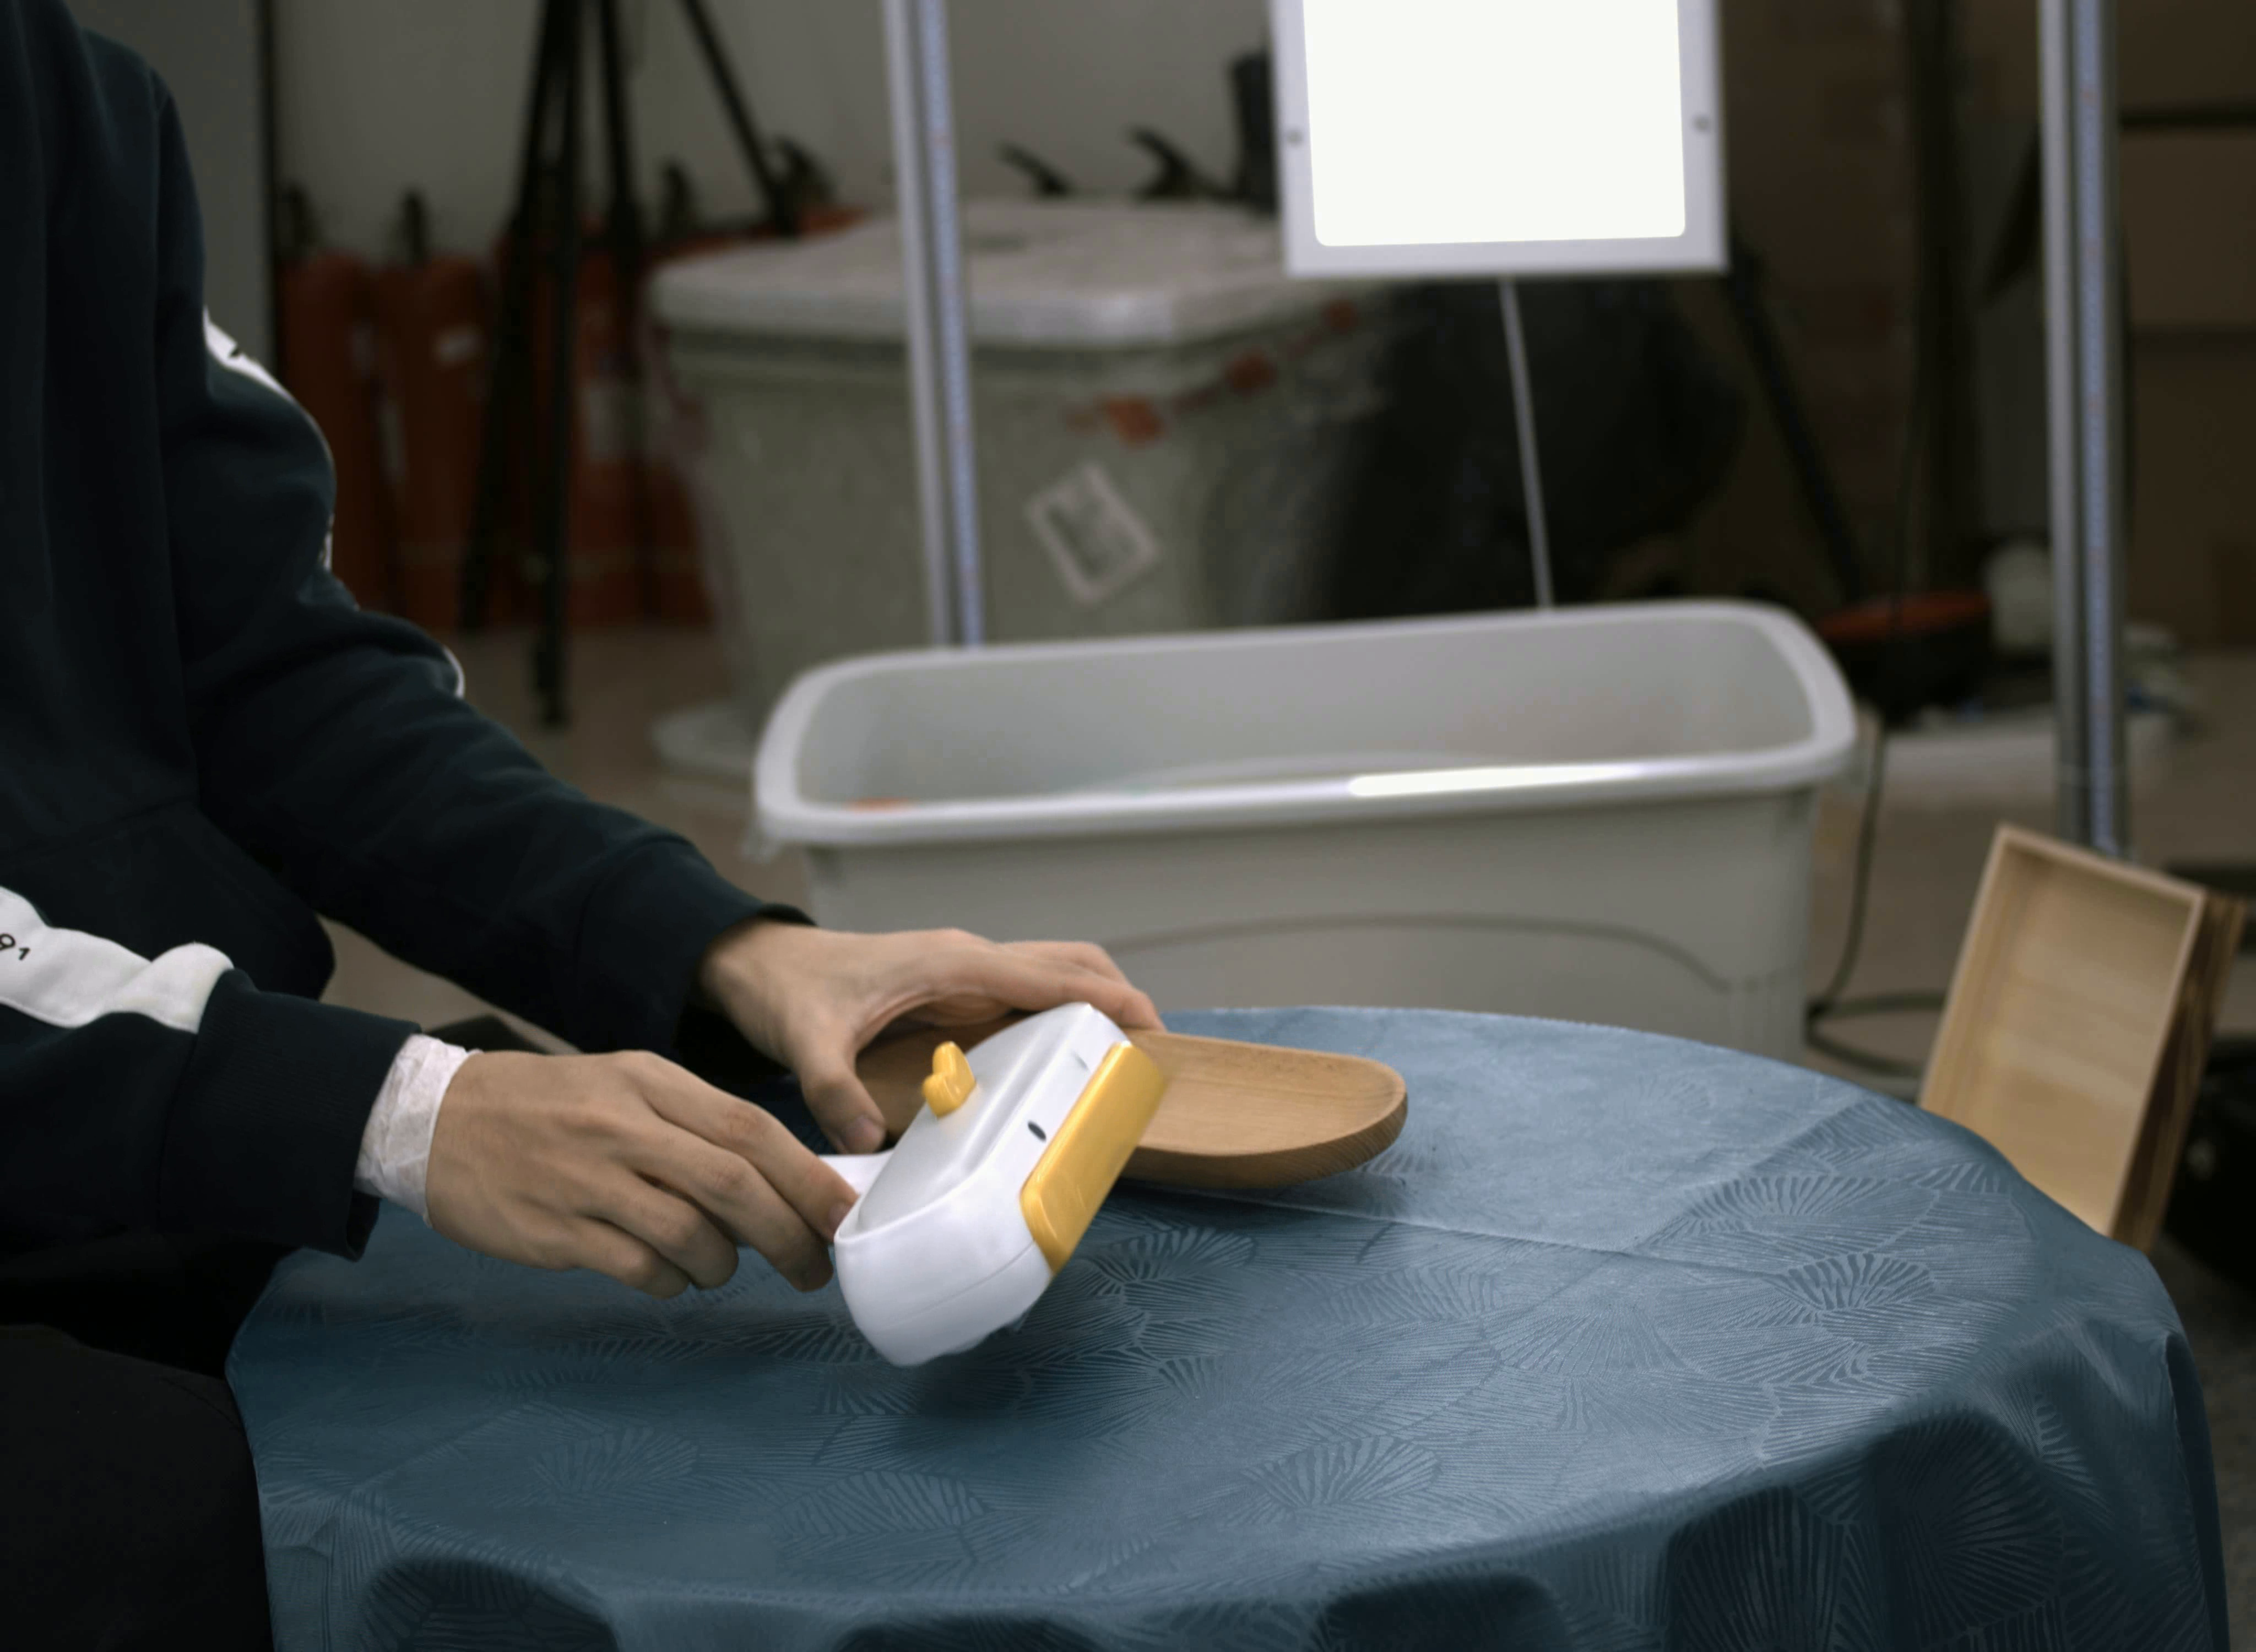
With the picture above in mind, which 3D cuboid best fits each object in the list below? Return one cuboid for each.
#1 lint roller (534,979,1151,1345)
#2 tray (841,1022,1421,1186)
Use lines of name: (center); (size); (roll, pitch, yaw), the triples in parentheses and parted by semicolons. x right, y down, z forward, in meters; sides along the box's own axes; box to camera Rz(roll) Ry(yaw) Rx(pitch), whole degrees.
lint roller: (-0.096, 0.116, 1.776); (0.194, 0.074, 0.191); (-17, 19, 16)
tray: (-0.001, 0.097, 1.934); (0.236, 0.020, 0.099); (6, 22, 38)
